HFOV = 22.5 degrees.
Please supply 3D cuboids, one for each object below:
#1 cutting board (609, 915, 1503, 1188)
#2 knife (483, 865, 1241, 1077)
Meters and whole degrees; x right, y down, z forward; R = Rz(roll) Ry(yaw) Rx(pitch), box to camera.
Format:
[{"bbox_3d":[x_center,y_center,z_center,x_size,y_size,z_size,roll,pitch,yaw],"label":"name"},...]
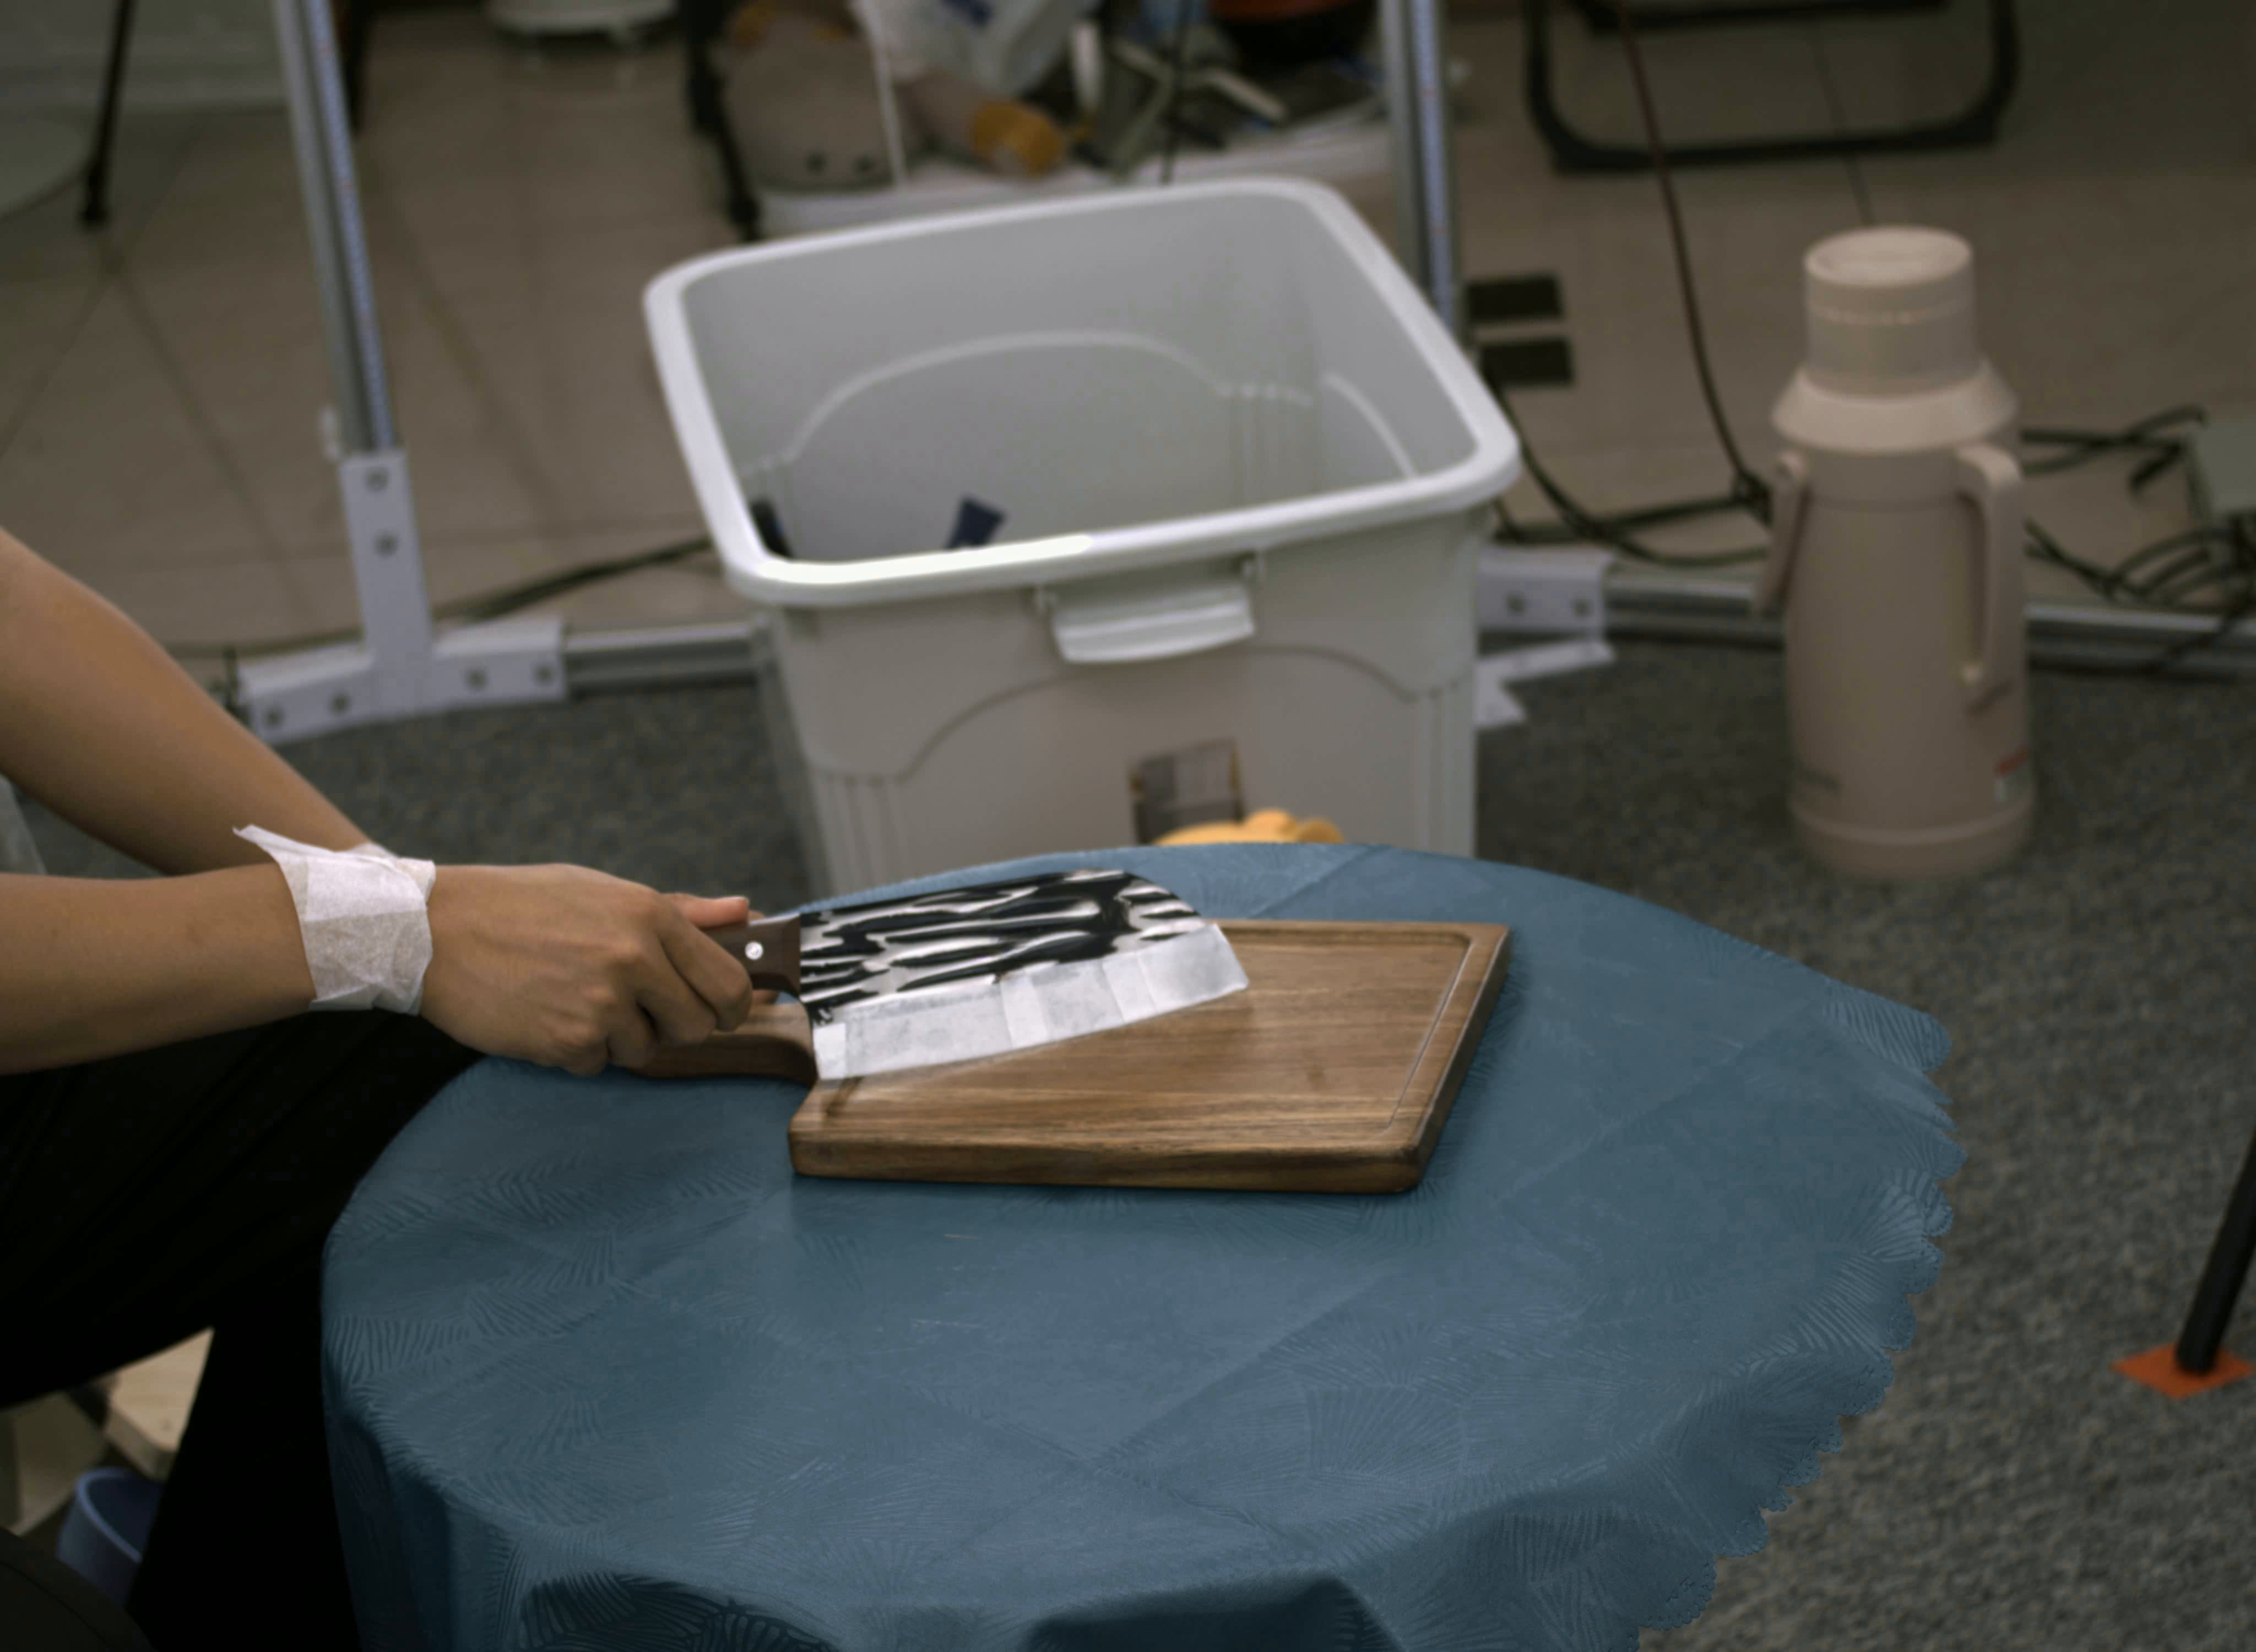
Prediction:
[{"bbox_3d":[-0.039,0.085,2.251,0.351,0.023,0.198,1,26,16],"label":"cutting board"},{"bbox_3d":[-0.101,0.061,2.220,0.299,0.068,0.024,-9,-4,-15],"label":"knife"}]
